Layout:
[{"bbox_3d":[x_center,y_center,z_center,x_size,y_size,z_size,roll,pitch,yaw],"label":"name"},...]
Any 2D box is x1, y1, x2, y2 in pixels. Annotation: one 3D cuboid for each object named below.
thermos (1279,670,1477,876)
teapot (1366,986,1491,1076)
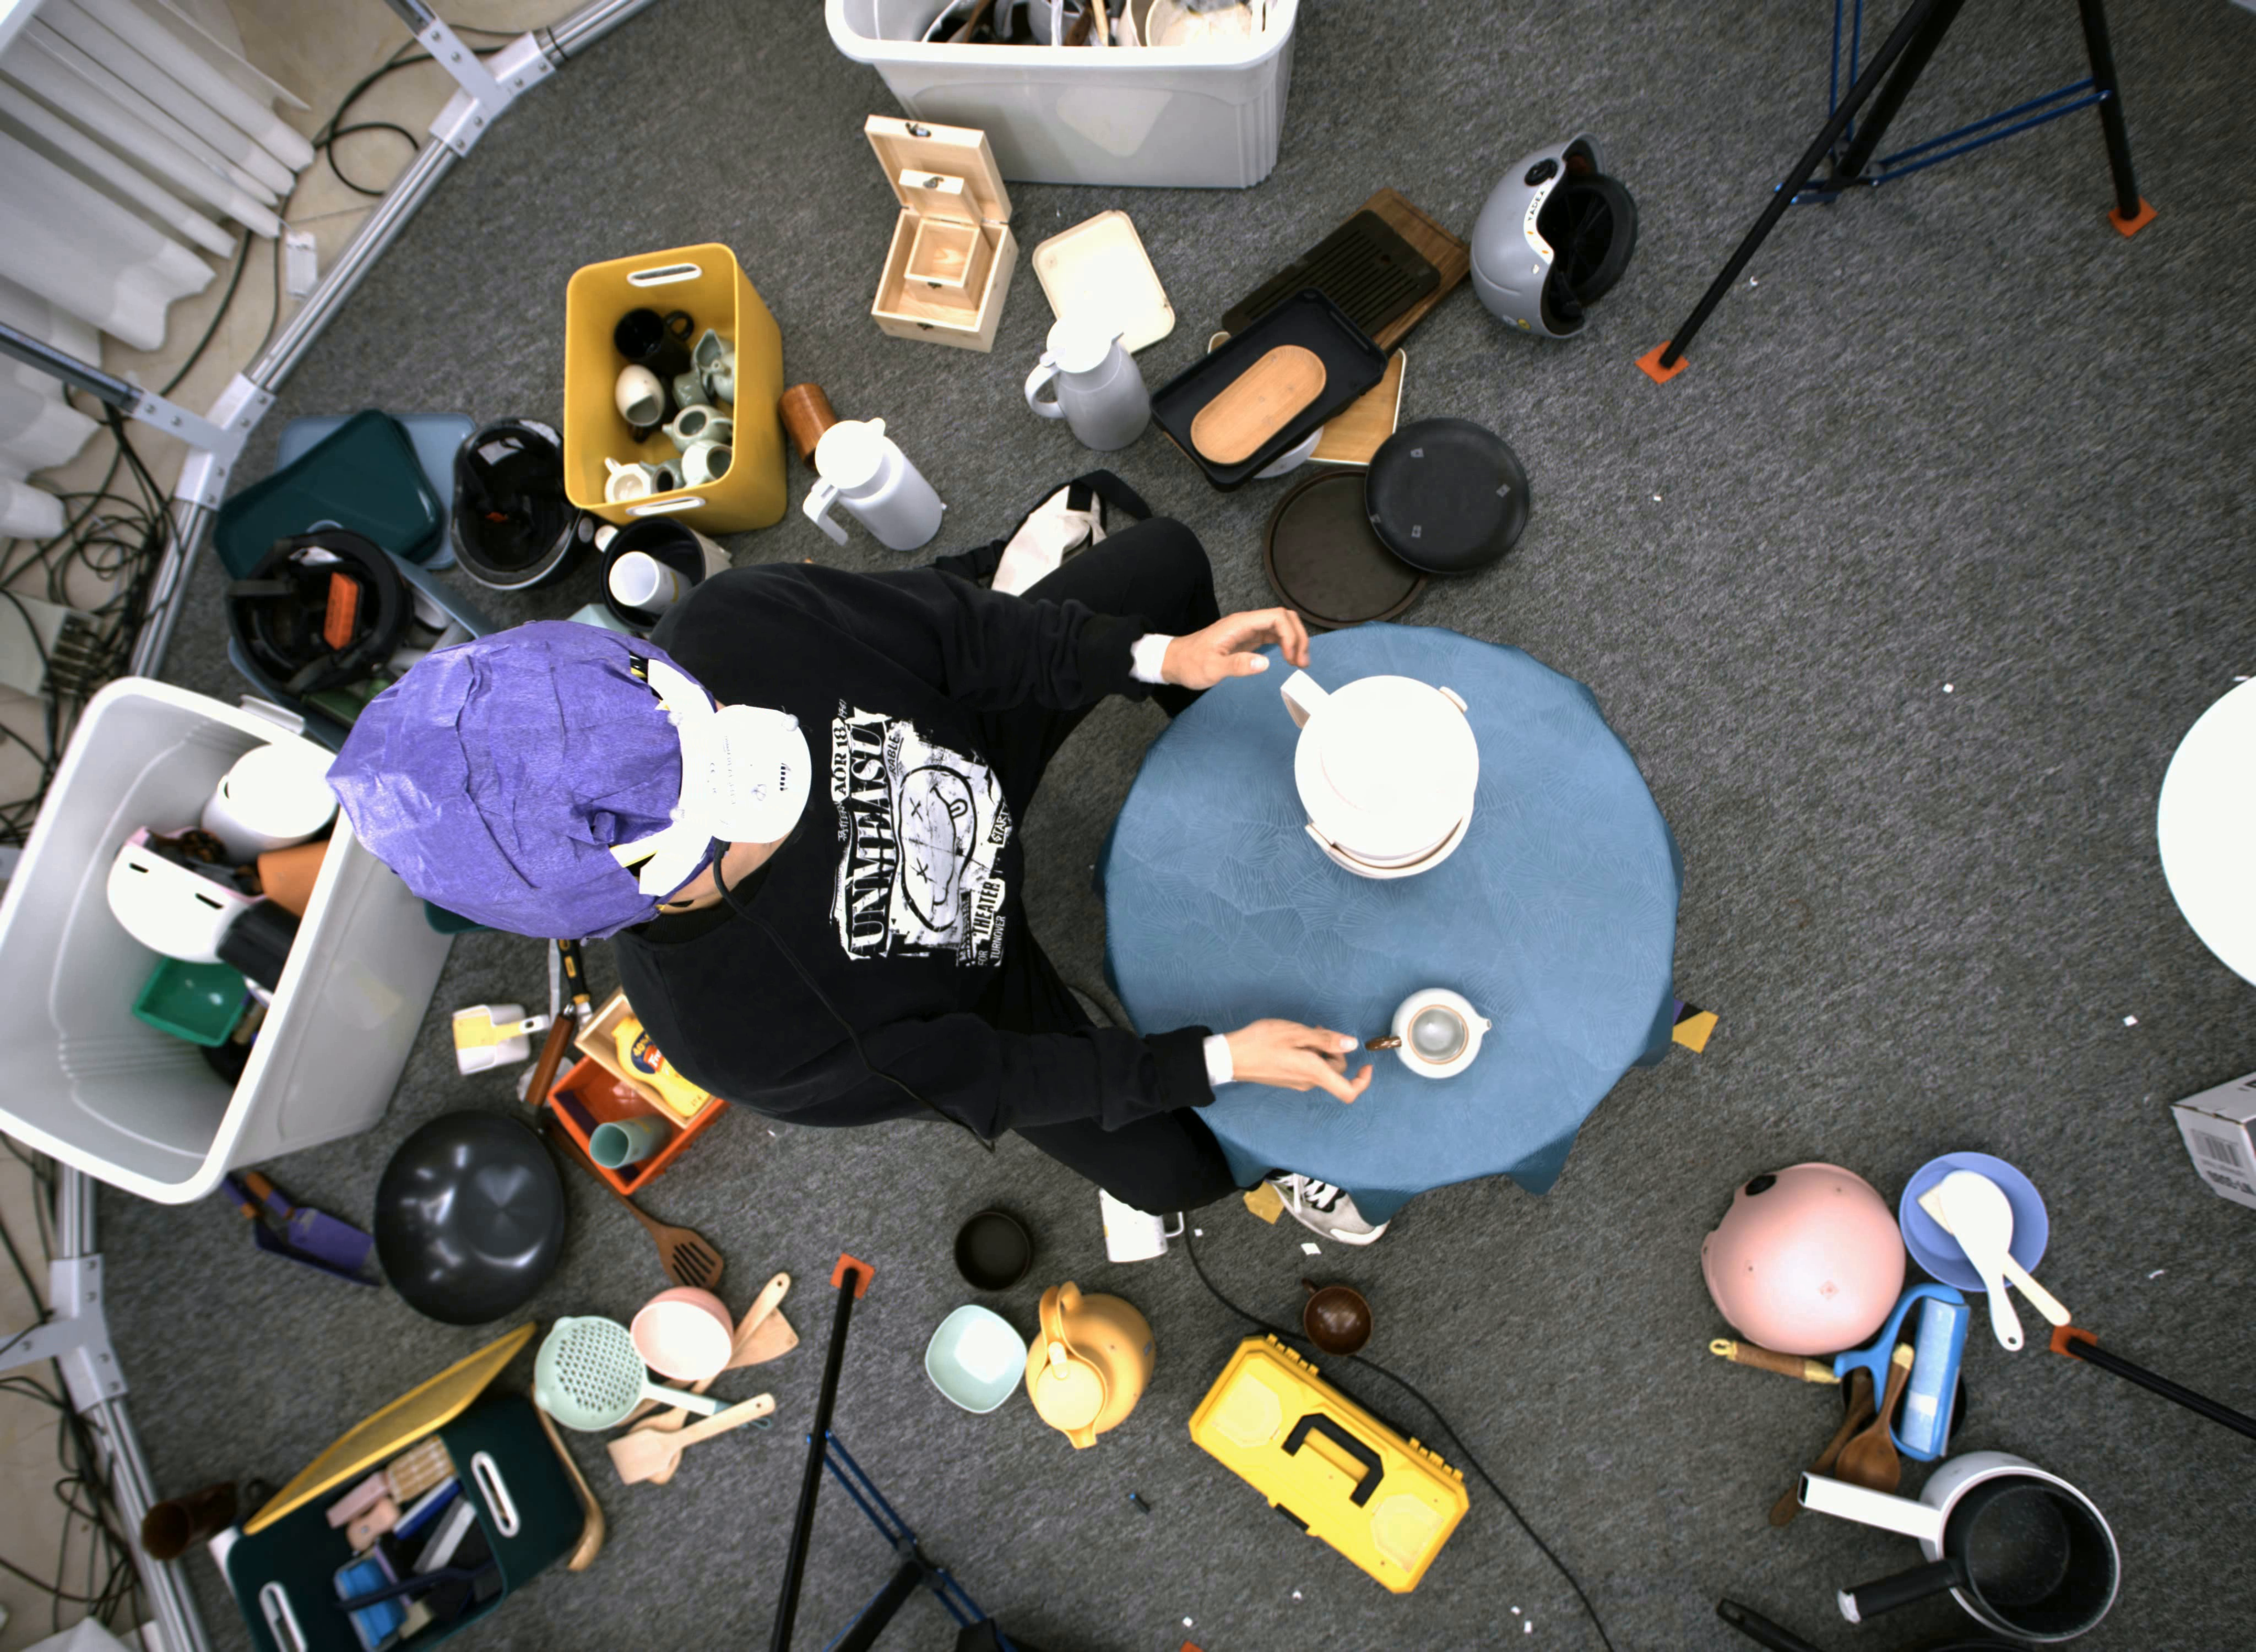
[{"bbox_3d":[0.227,-0.055,1.275,0.206,0.406,0.176,44,95,10],"label":"thermos"},{"bbox_3d":[0.307,0.211,1.417,0.129,0.059,0.091,-14,89,9],"label":"teapot"}]
